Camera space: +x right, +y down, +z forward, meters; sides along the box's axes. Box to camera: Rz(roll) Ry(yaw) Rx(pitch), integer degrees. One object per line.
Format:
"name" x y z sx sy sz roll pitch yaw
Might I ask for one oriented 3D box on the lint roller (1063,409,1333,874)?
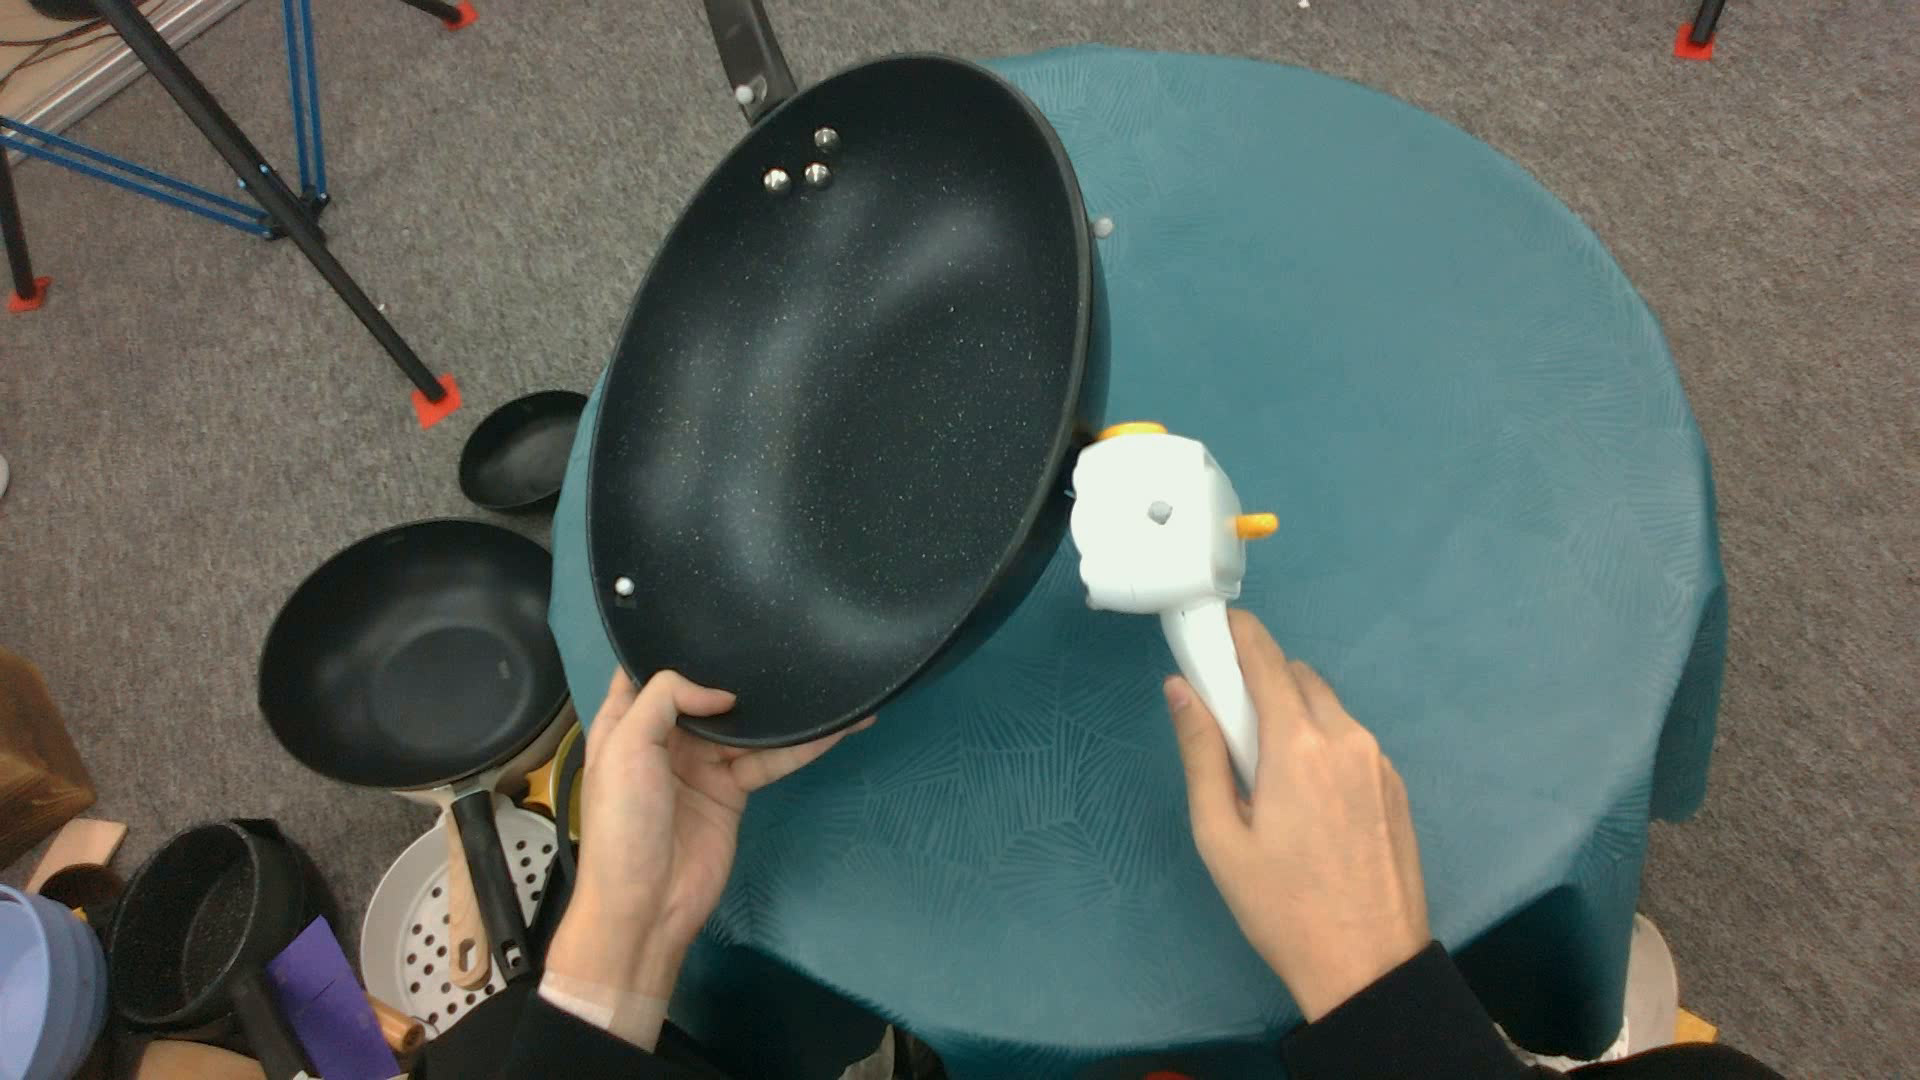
"lint roller" 0.099 0.044 0.556 0.074 0.193 0.192 -14 88 8

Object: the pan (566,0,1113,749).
"pan" -0.070 -0.133 0.650 0.309 0.112 0.478 -28 60 30
